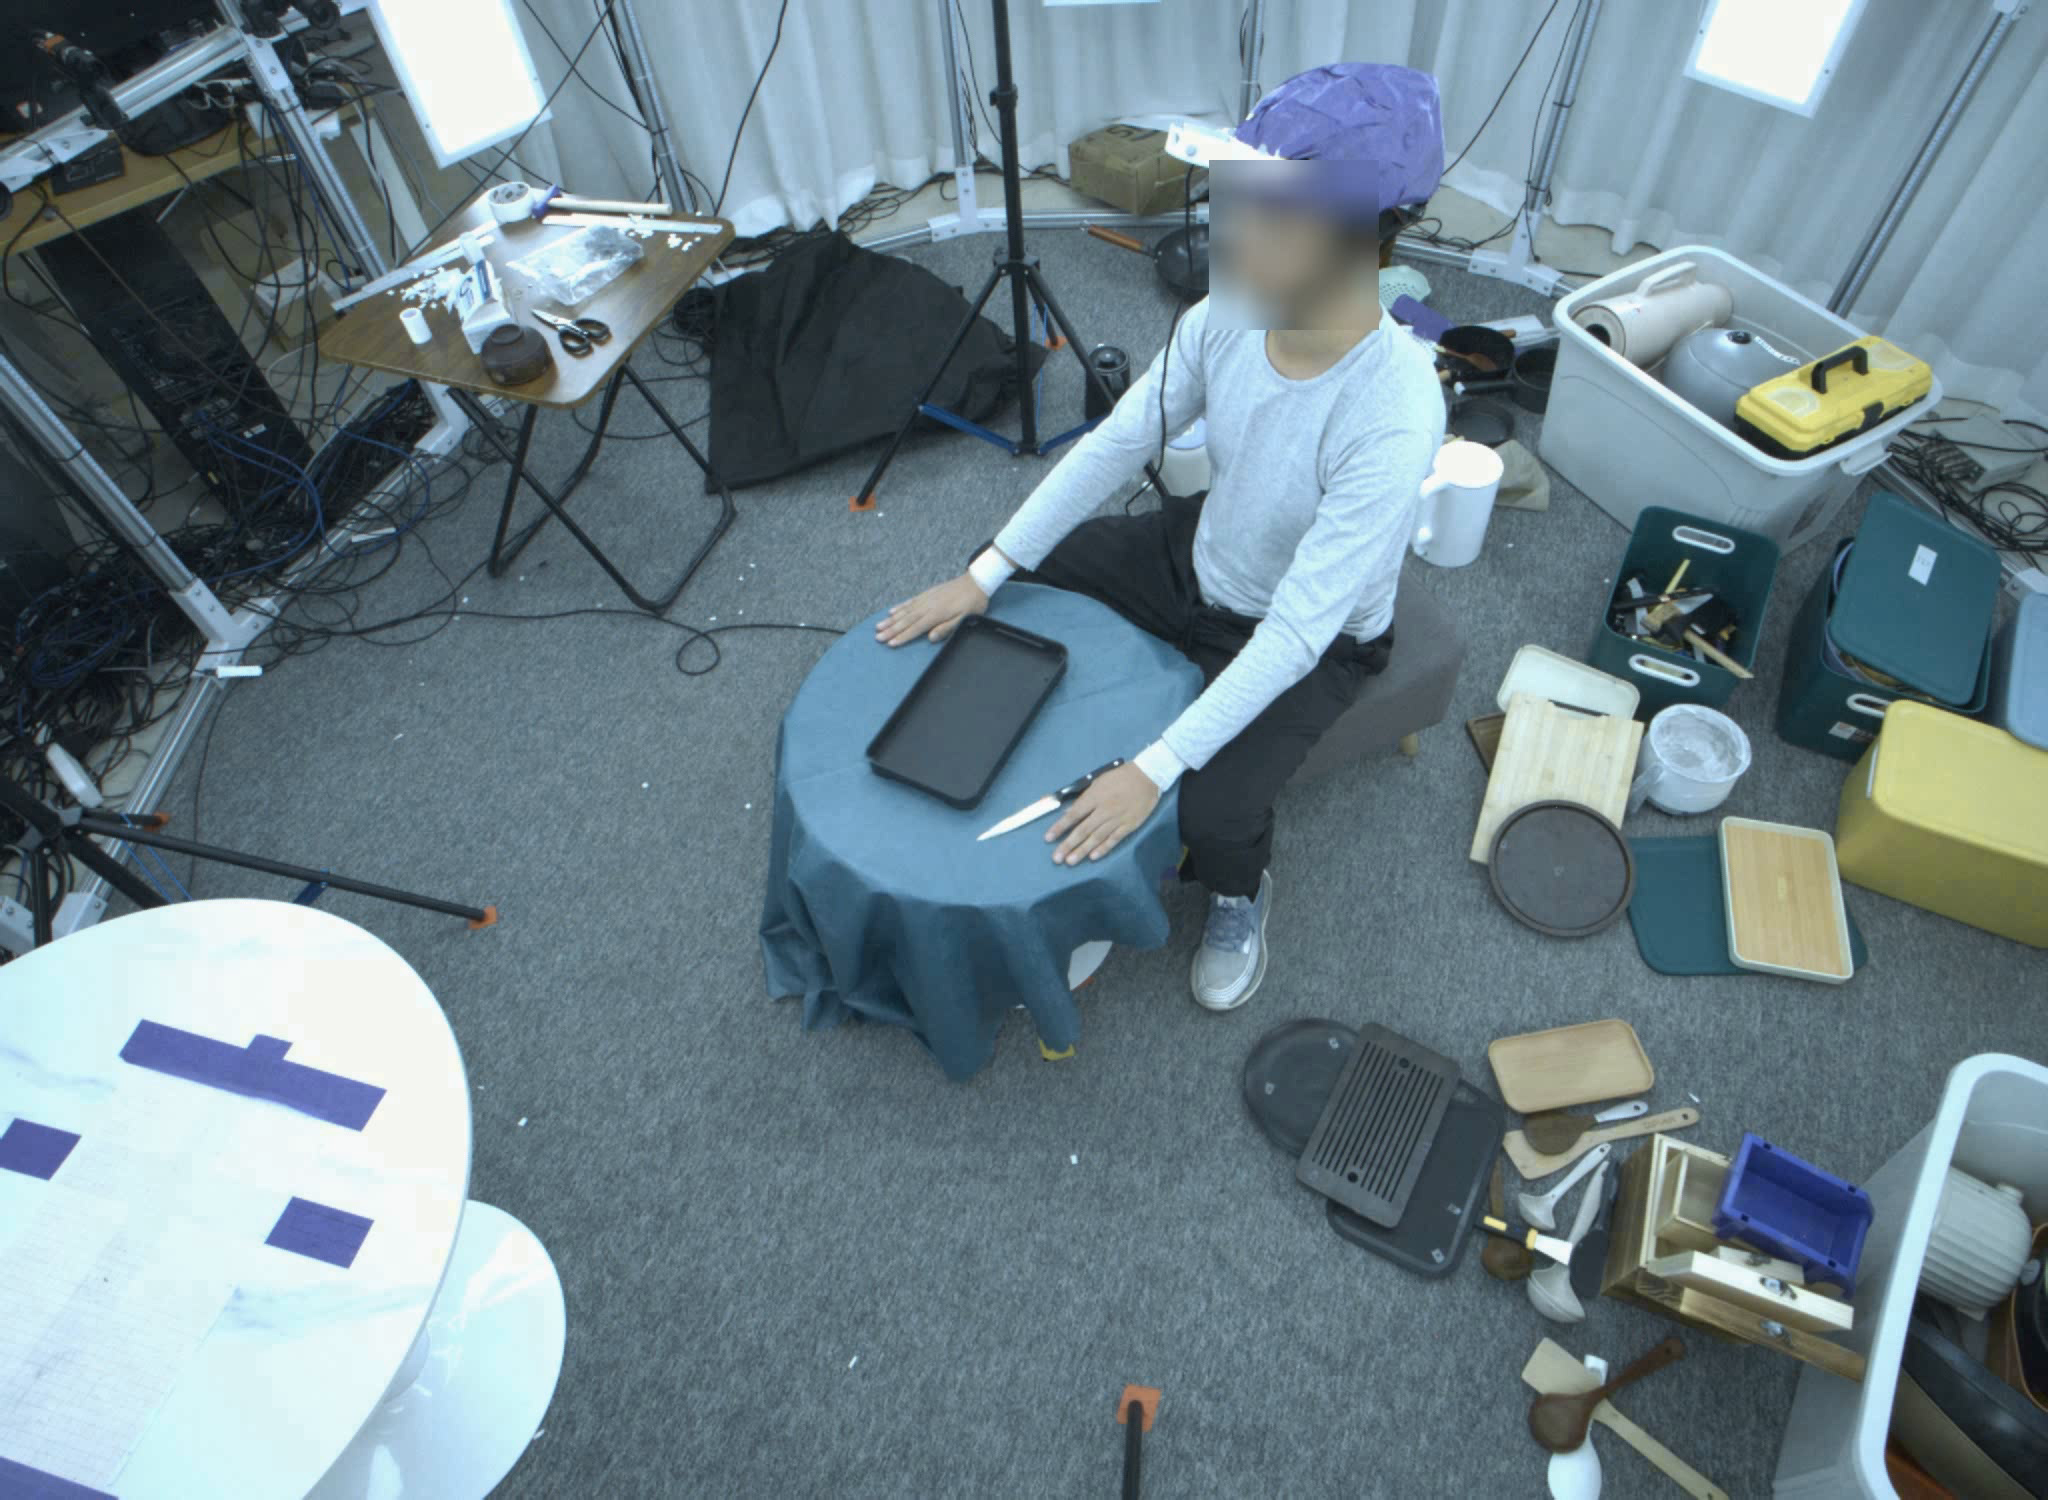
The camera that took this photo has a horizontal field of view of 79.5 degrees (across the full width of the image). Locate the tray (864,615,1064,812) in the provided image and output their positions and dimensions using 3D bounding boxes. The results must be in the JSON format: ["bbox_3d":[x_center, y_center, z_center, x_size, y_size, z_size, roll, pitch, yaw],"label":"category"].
[{"bbox_3d":[-0.084,-0.060,1.818,0.182,0.037,0.318,22,57,15],"label":"tray"}]

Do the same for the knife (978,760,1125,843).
[{"bbox_3d":[0.038,0.072,1.736,0.240,0.016,0.024,-28,57,-14],"label":"knife"}]
